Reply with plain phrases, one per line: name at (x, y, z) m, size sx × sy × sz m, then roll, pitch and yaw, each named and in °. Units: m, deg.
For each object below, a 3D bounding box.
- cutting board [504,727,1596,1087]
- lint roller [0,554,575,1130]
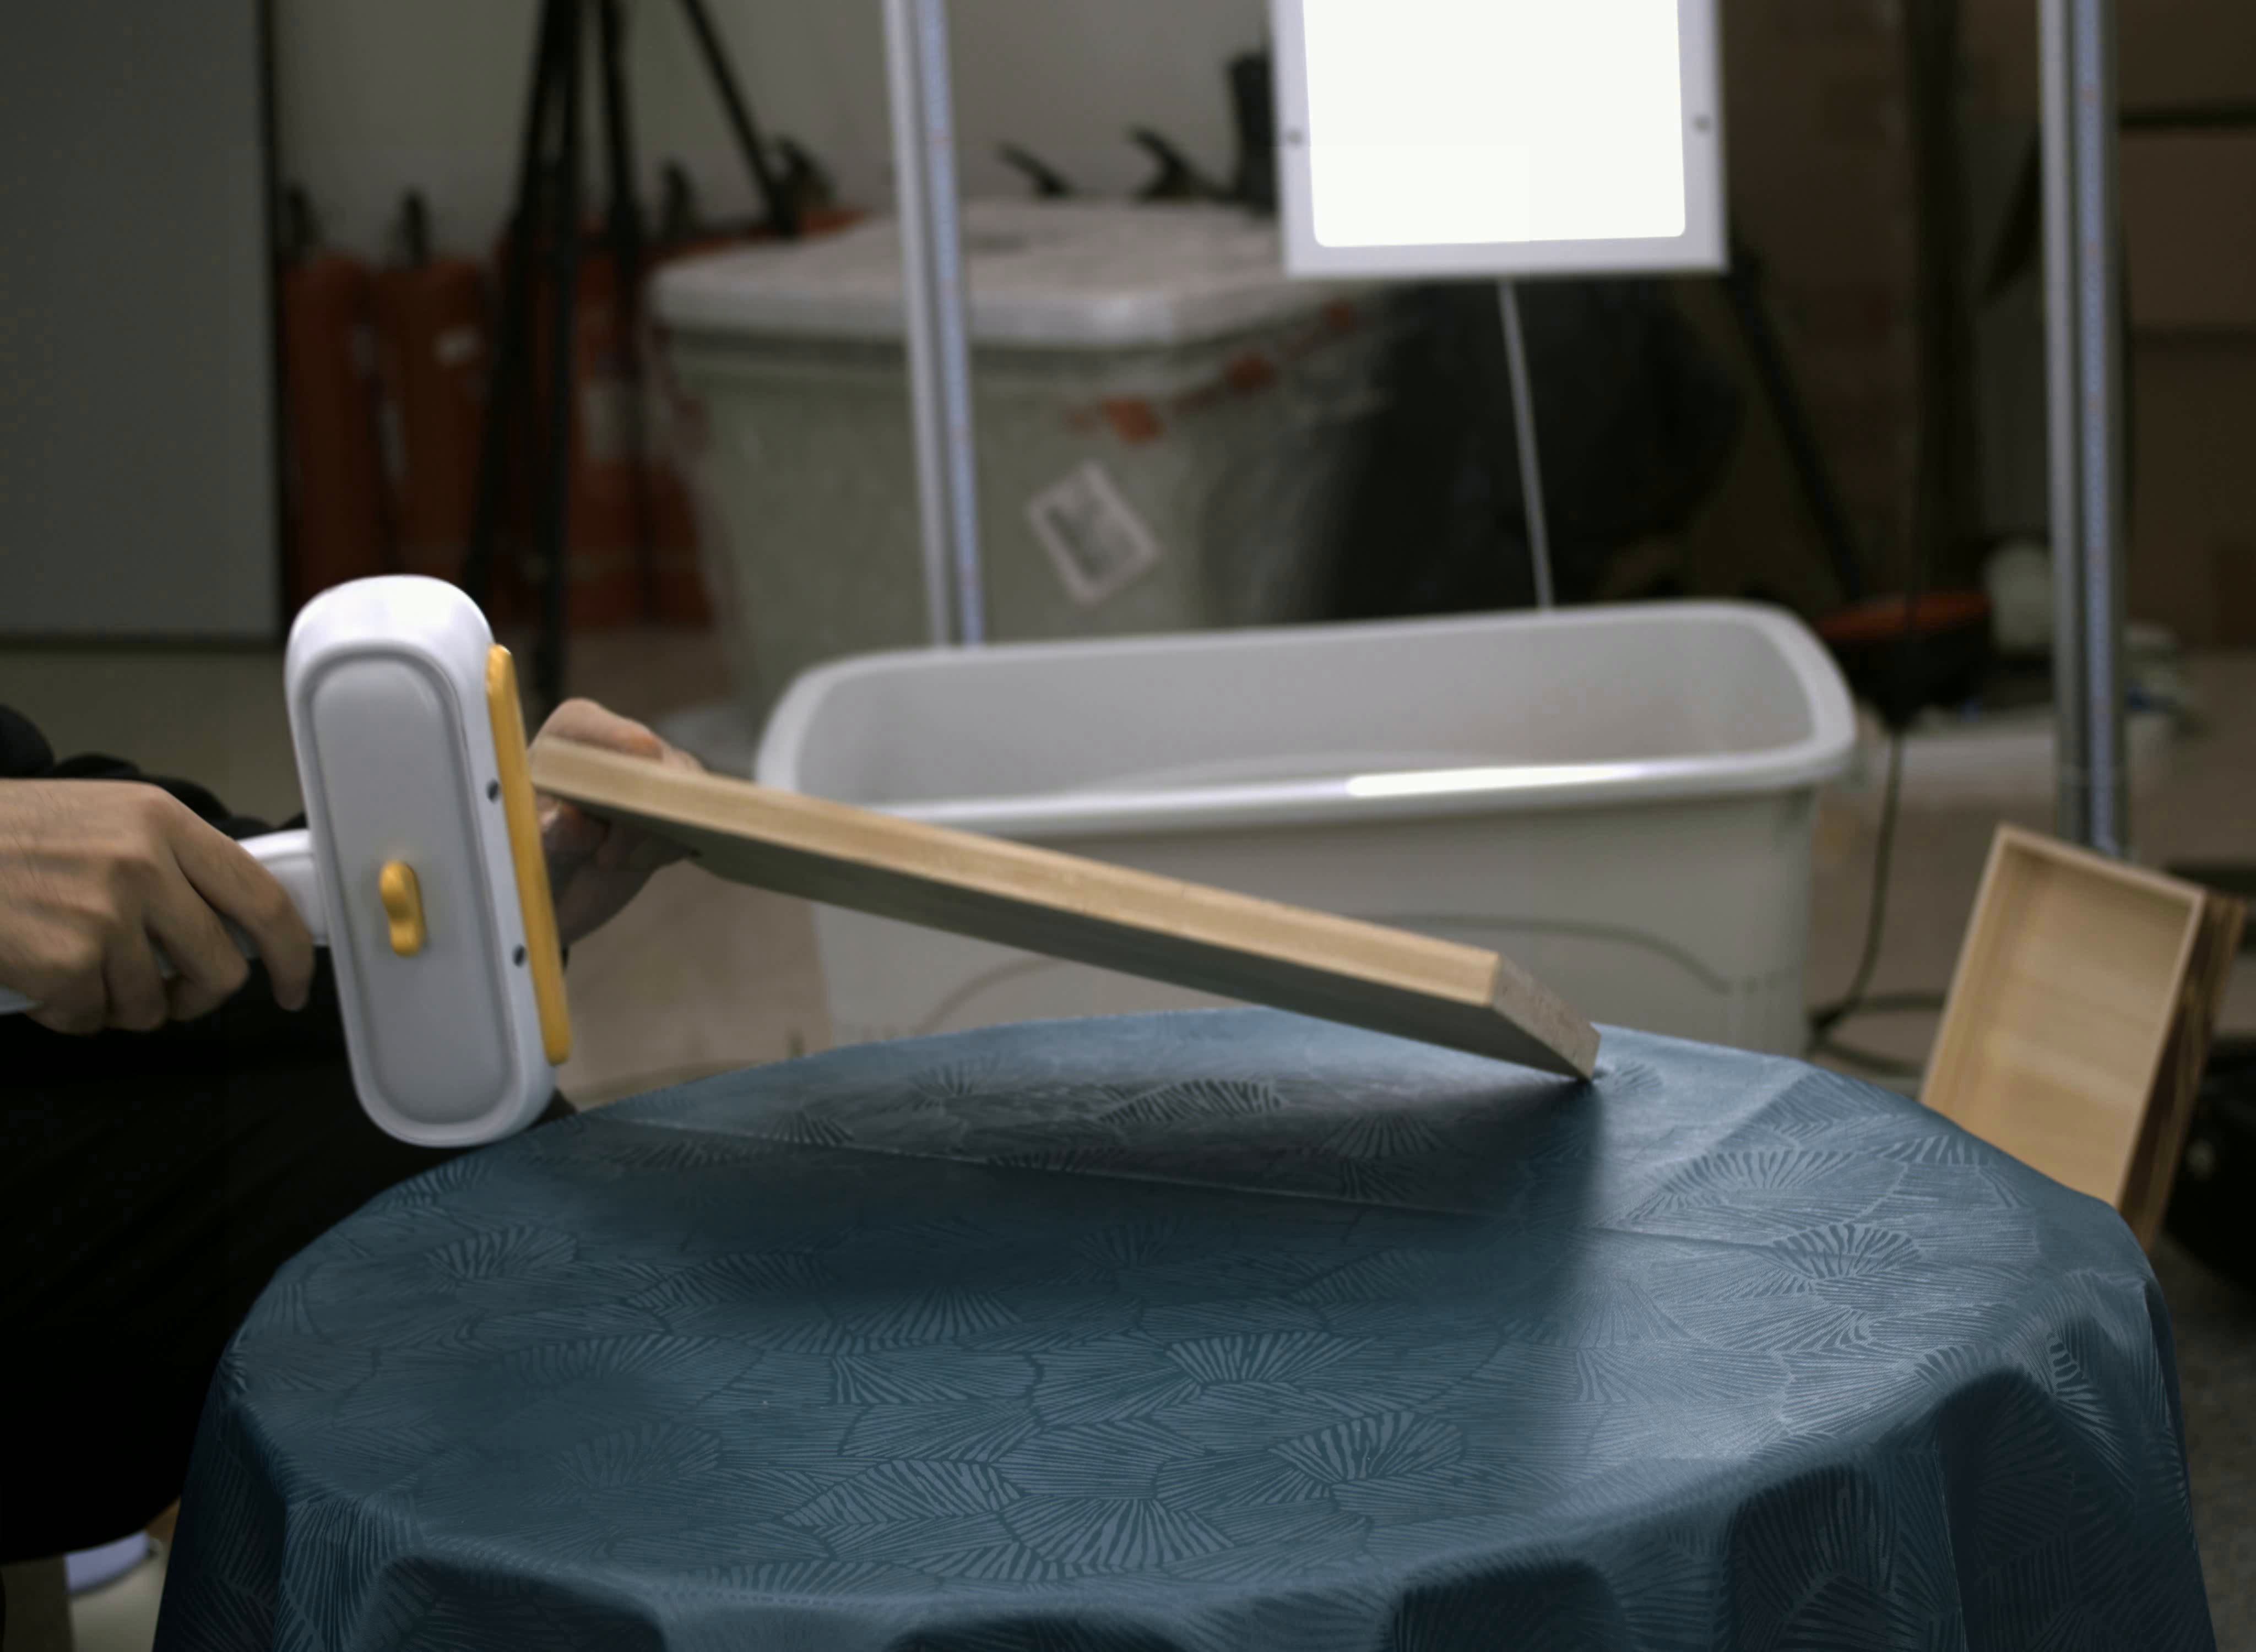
cutting board at (-0.021, 0.030, 1.916) m, size 0.352 × 0.023 × 0.248 m, roll 13°, pitch -6°, yaw 16°
lint roller at (-0.284, 0.022, 1.760) m, size 0.192 × 0.193 × 0.074 m, roll -11°, pitch 25°, yaw 1°
